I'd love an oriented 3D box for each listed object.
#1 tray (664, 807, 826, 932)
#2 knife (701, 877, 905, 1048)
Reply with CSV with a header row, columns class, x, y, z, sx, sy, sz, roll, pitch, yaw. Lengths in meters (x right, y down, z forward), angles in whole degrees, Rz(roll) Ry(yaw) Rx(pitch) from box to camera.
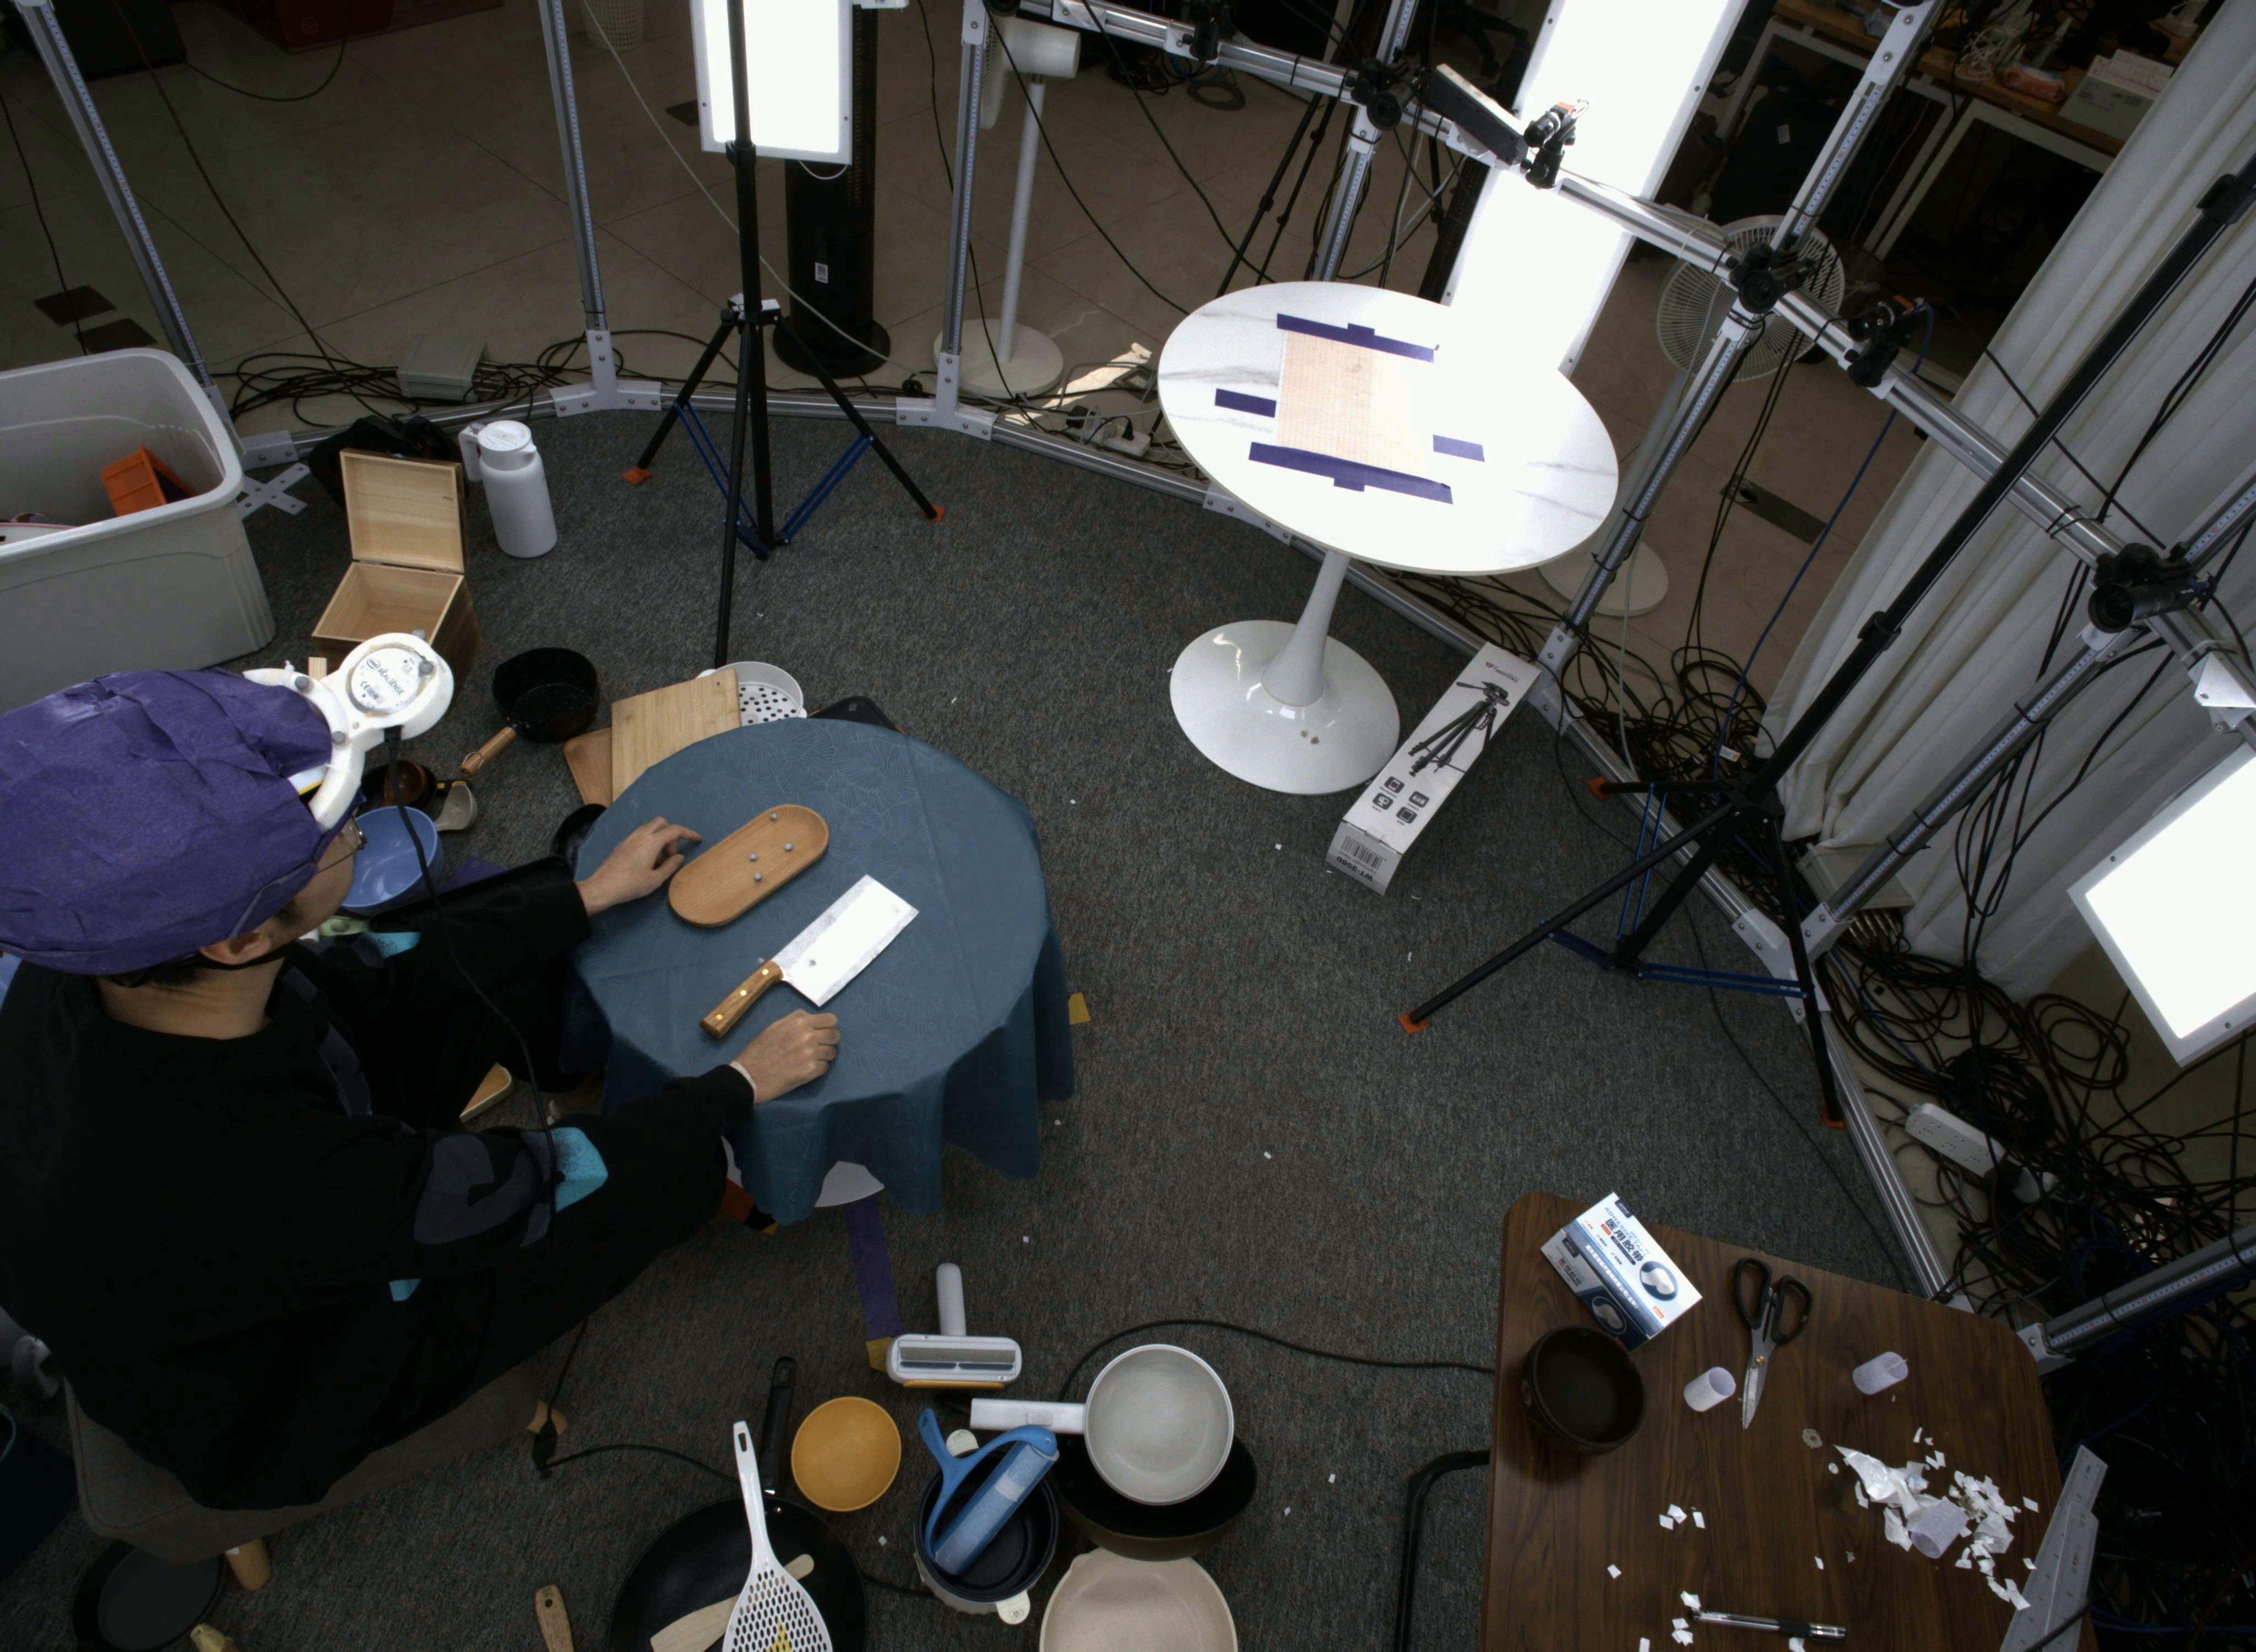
class,x,y,z,sx,sy,sz,roll,pitch,yaw
tray,-0.486,0.052,1.647,0.099,0.021,0.231,39,54,15
knife,-0.386,0.171,1.585,0.091,0.021,0.305,35,50,10
